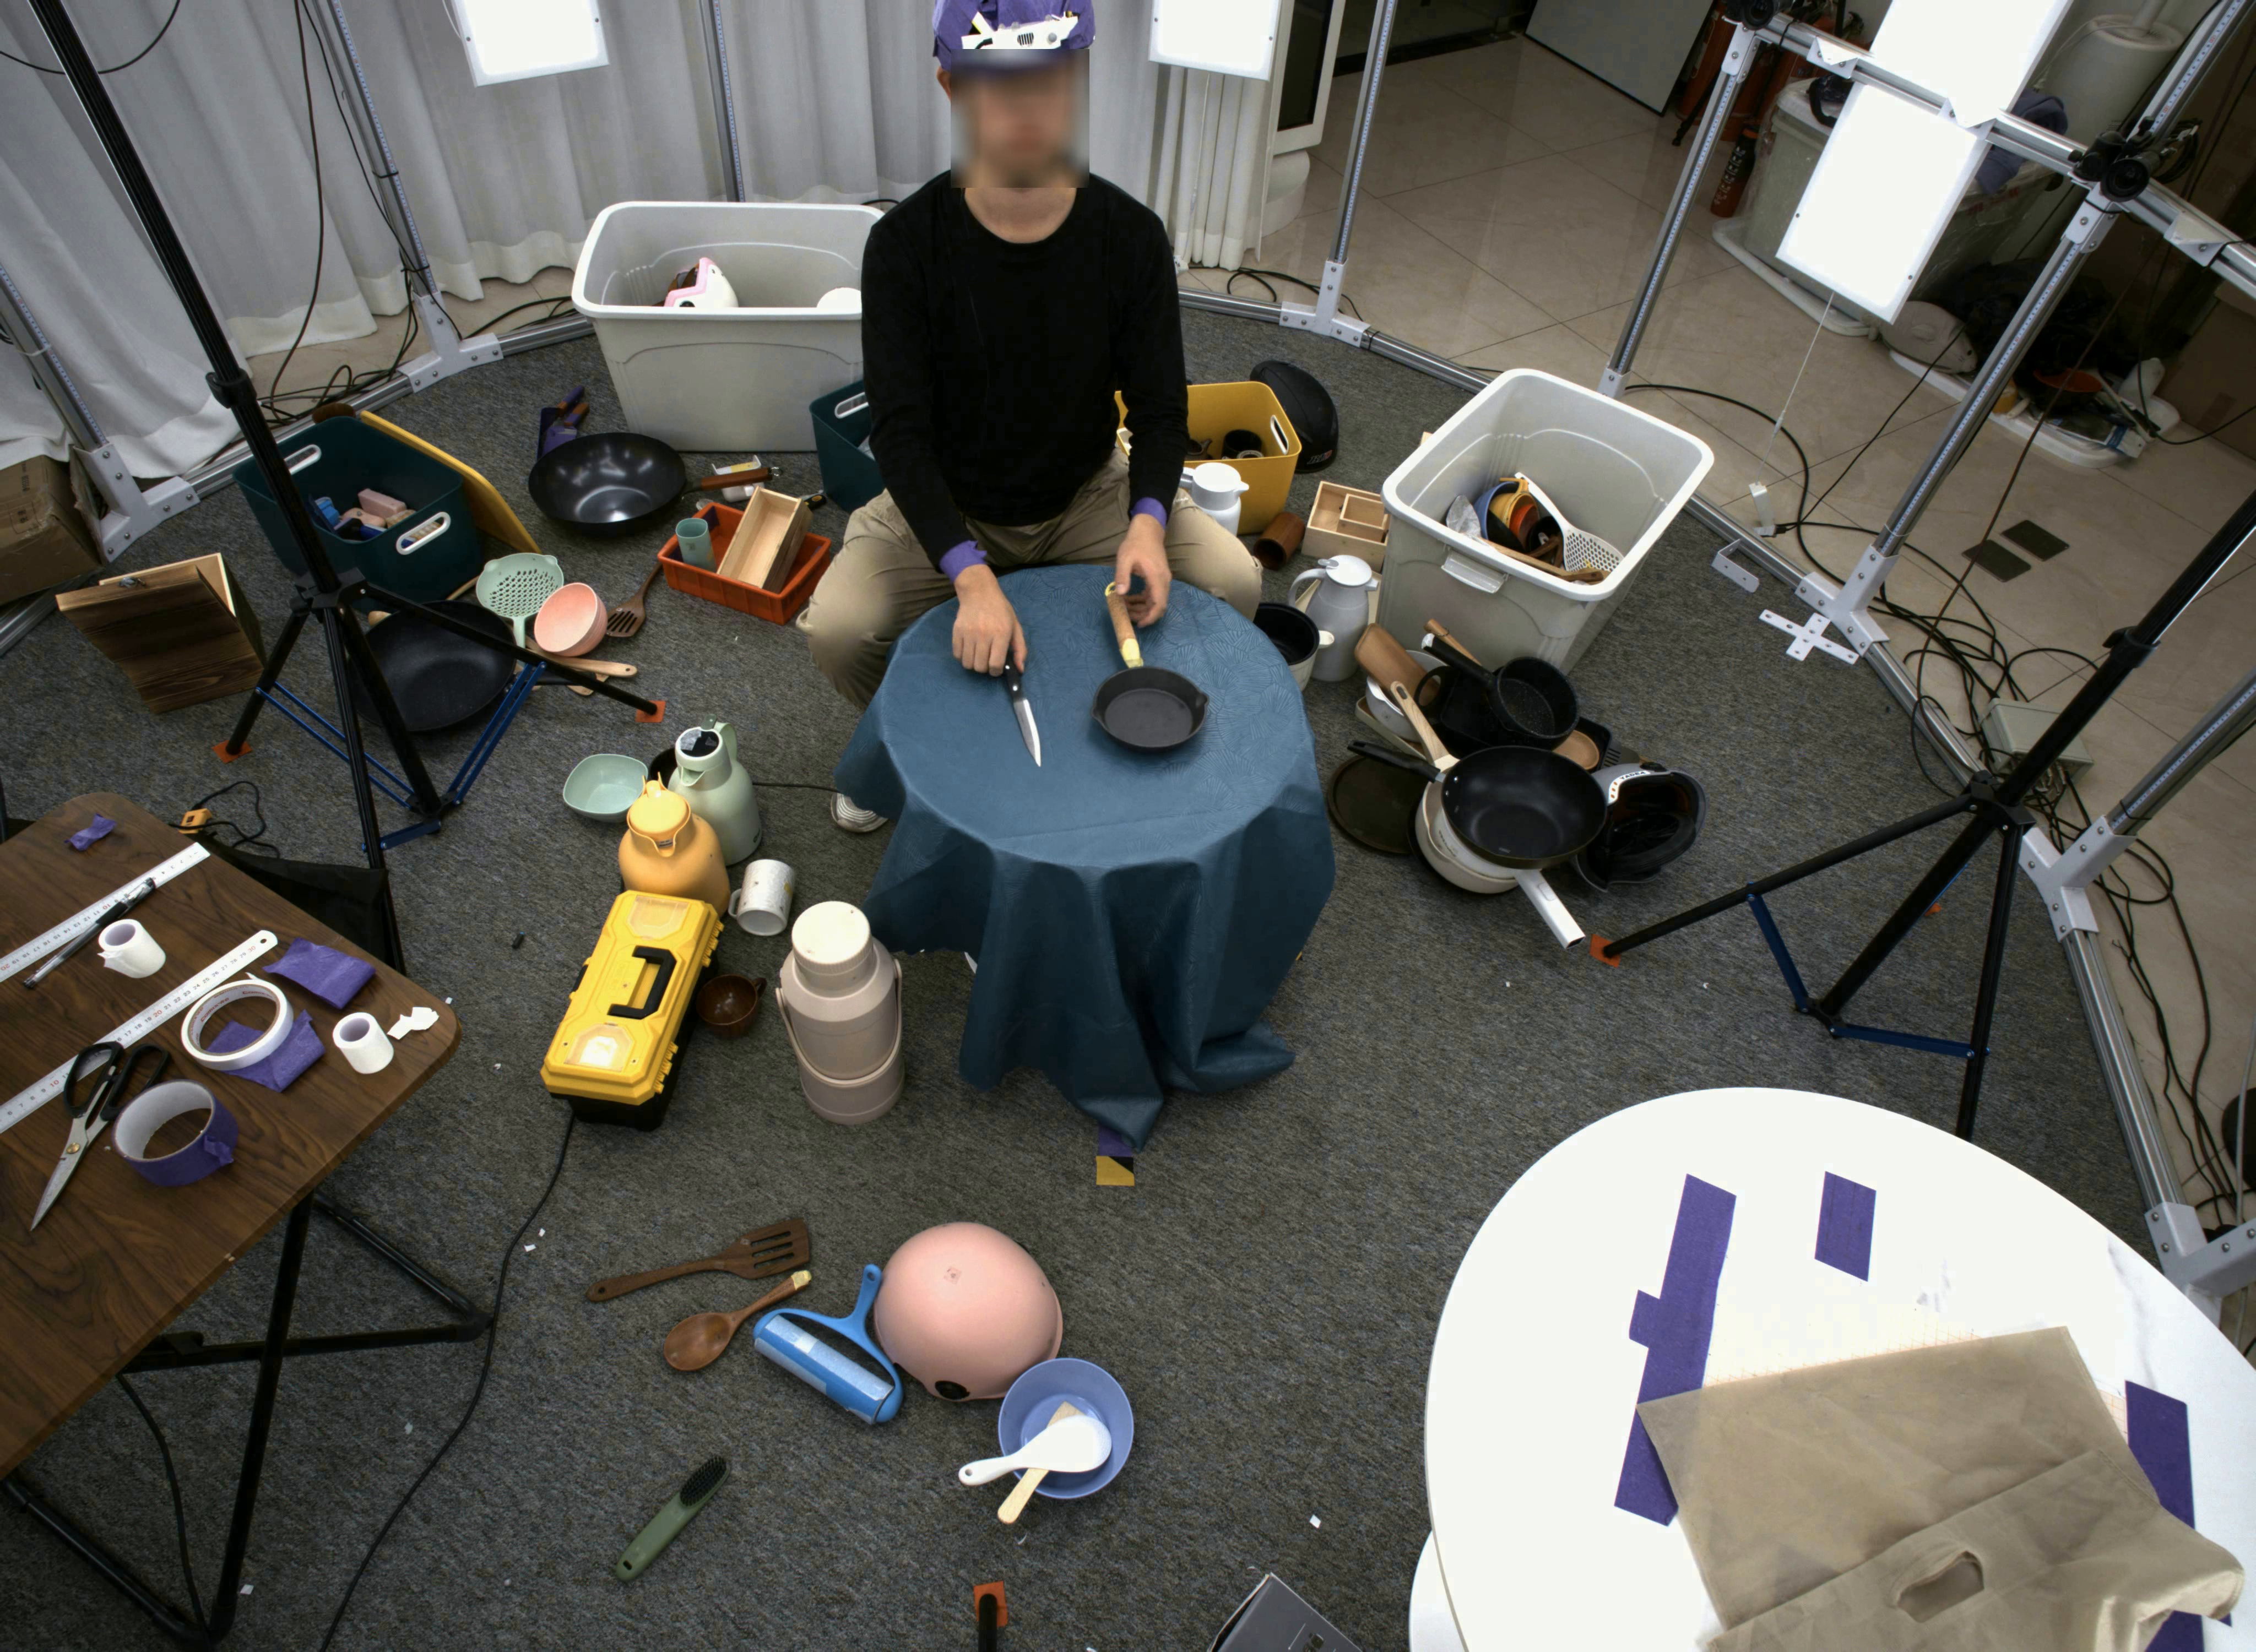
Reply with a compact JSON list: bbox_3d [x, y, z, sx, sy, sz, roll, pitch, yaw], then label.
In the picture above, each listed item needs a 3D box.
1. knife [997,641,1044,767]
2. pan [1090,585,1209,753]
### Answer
[{"bbox_3d":[-0.151,-0.173,1.803,0.024,0.016,0.244,-10,53,-13],"label":"knife"},{"bbox_3d":[0.013,-0.226,1.836,0.169,0.048,0.332,-7,49,-9],"label":"pan"}]
